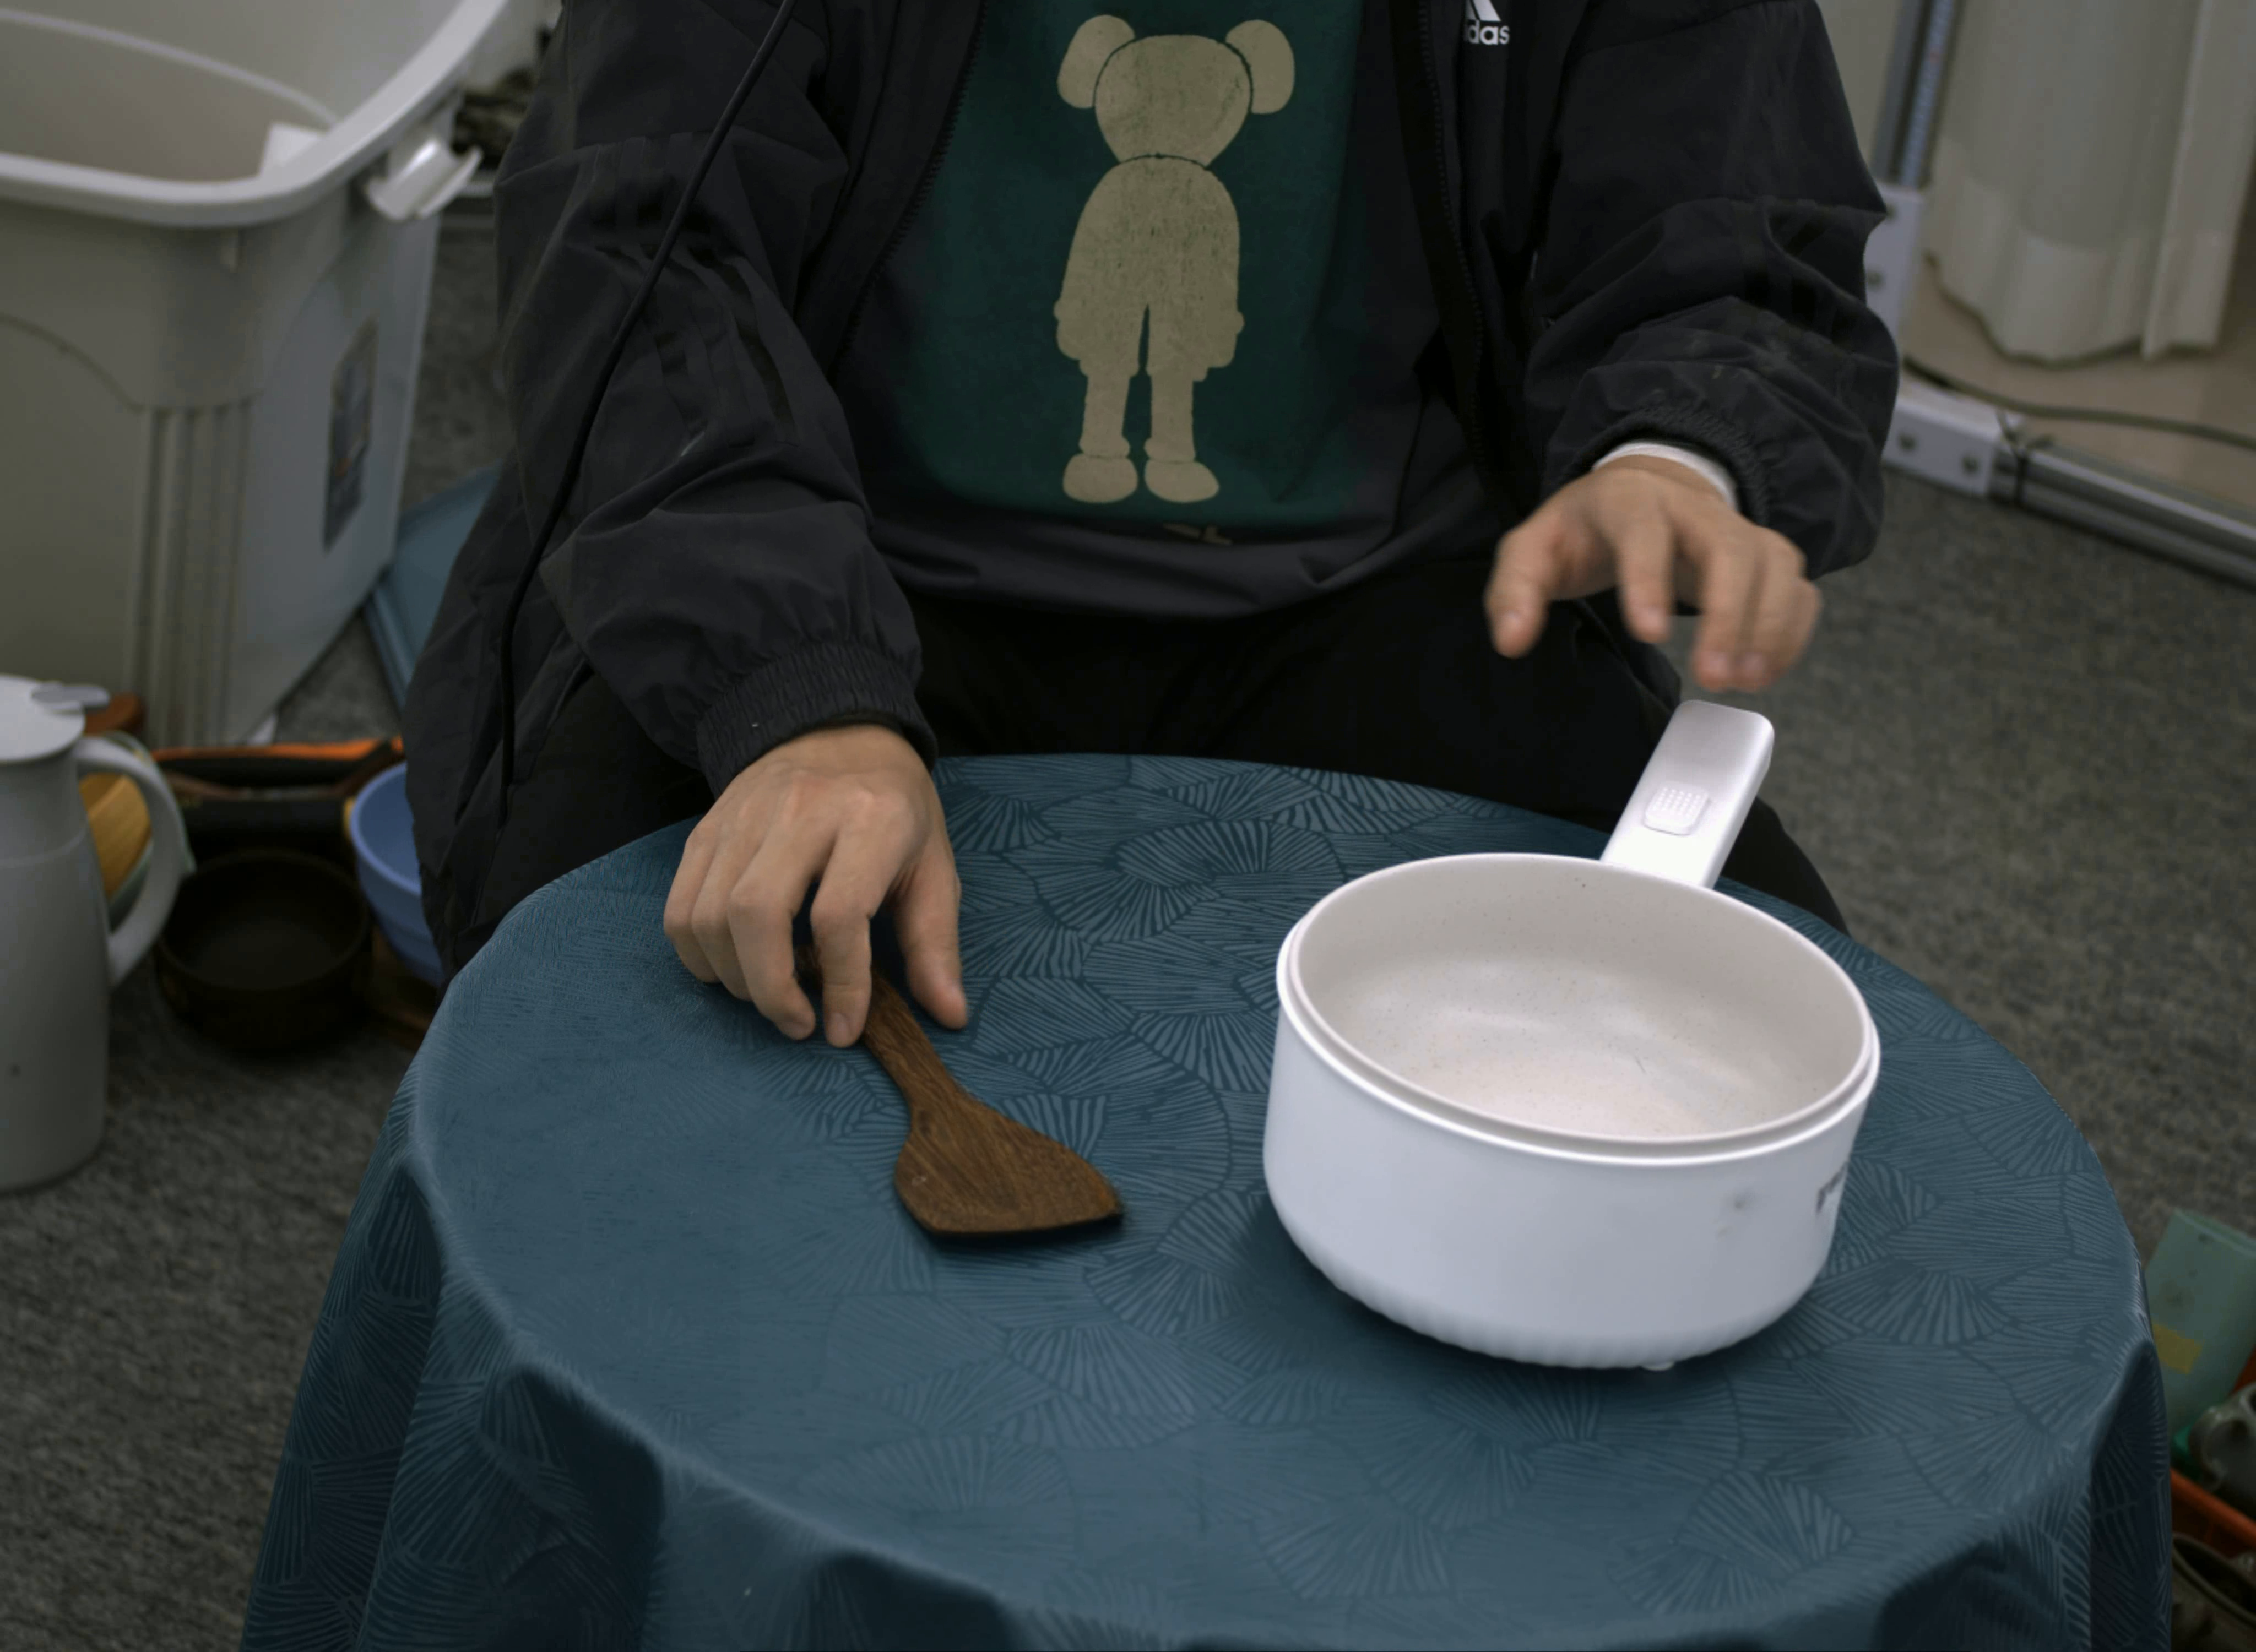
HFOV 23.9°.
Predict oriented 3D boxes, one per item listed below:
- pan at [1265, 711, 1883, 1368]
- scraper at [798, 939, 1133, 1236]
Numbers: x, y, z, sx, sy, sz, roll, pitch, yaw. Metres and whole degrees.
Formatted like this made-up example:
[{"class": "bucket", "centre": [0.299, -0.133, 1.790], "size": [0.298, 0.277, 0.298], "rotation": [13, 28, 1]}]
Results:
[{"class": "pan", "centre": [0.167, 0.069, 1.844], "size": [0.201, 0.102, 0.355], "rotation": [13, 26, 13]}, {"class": "scraper", "centre": [-0.069, 0.090, 1.848], "size": [0.075, 0.011, 0.213], "rotation": [-4, 28, -23]}]
